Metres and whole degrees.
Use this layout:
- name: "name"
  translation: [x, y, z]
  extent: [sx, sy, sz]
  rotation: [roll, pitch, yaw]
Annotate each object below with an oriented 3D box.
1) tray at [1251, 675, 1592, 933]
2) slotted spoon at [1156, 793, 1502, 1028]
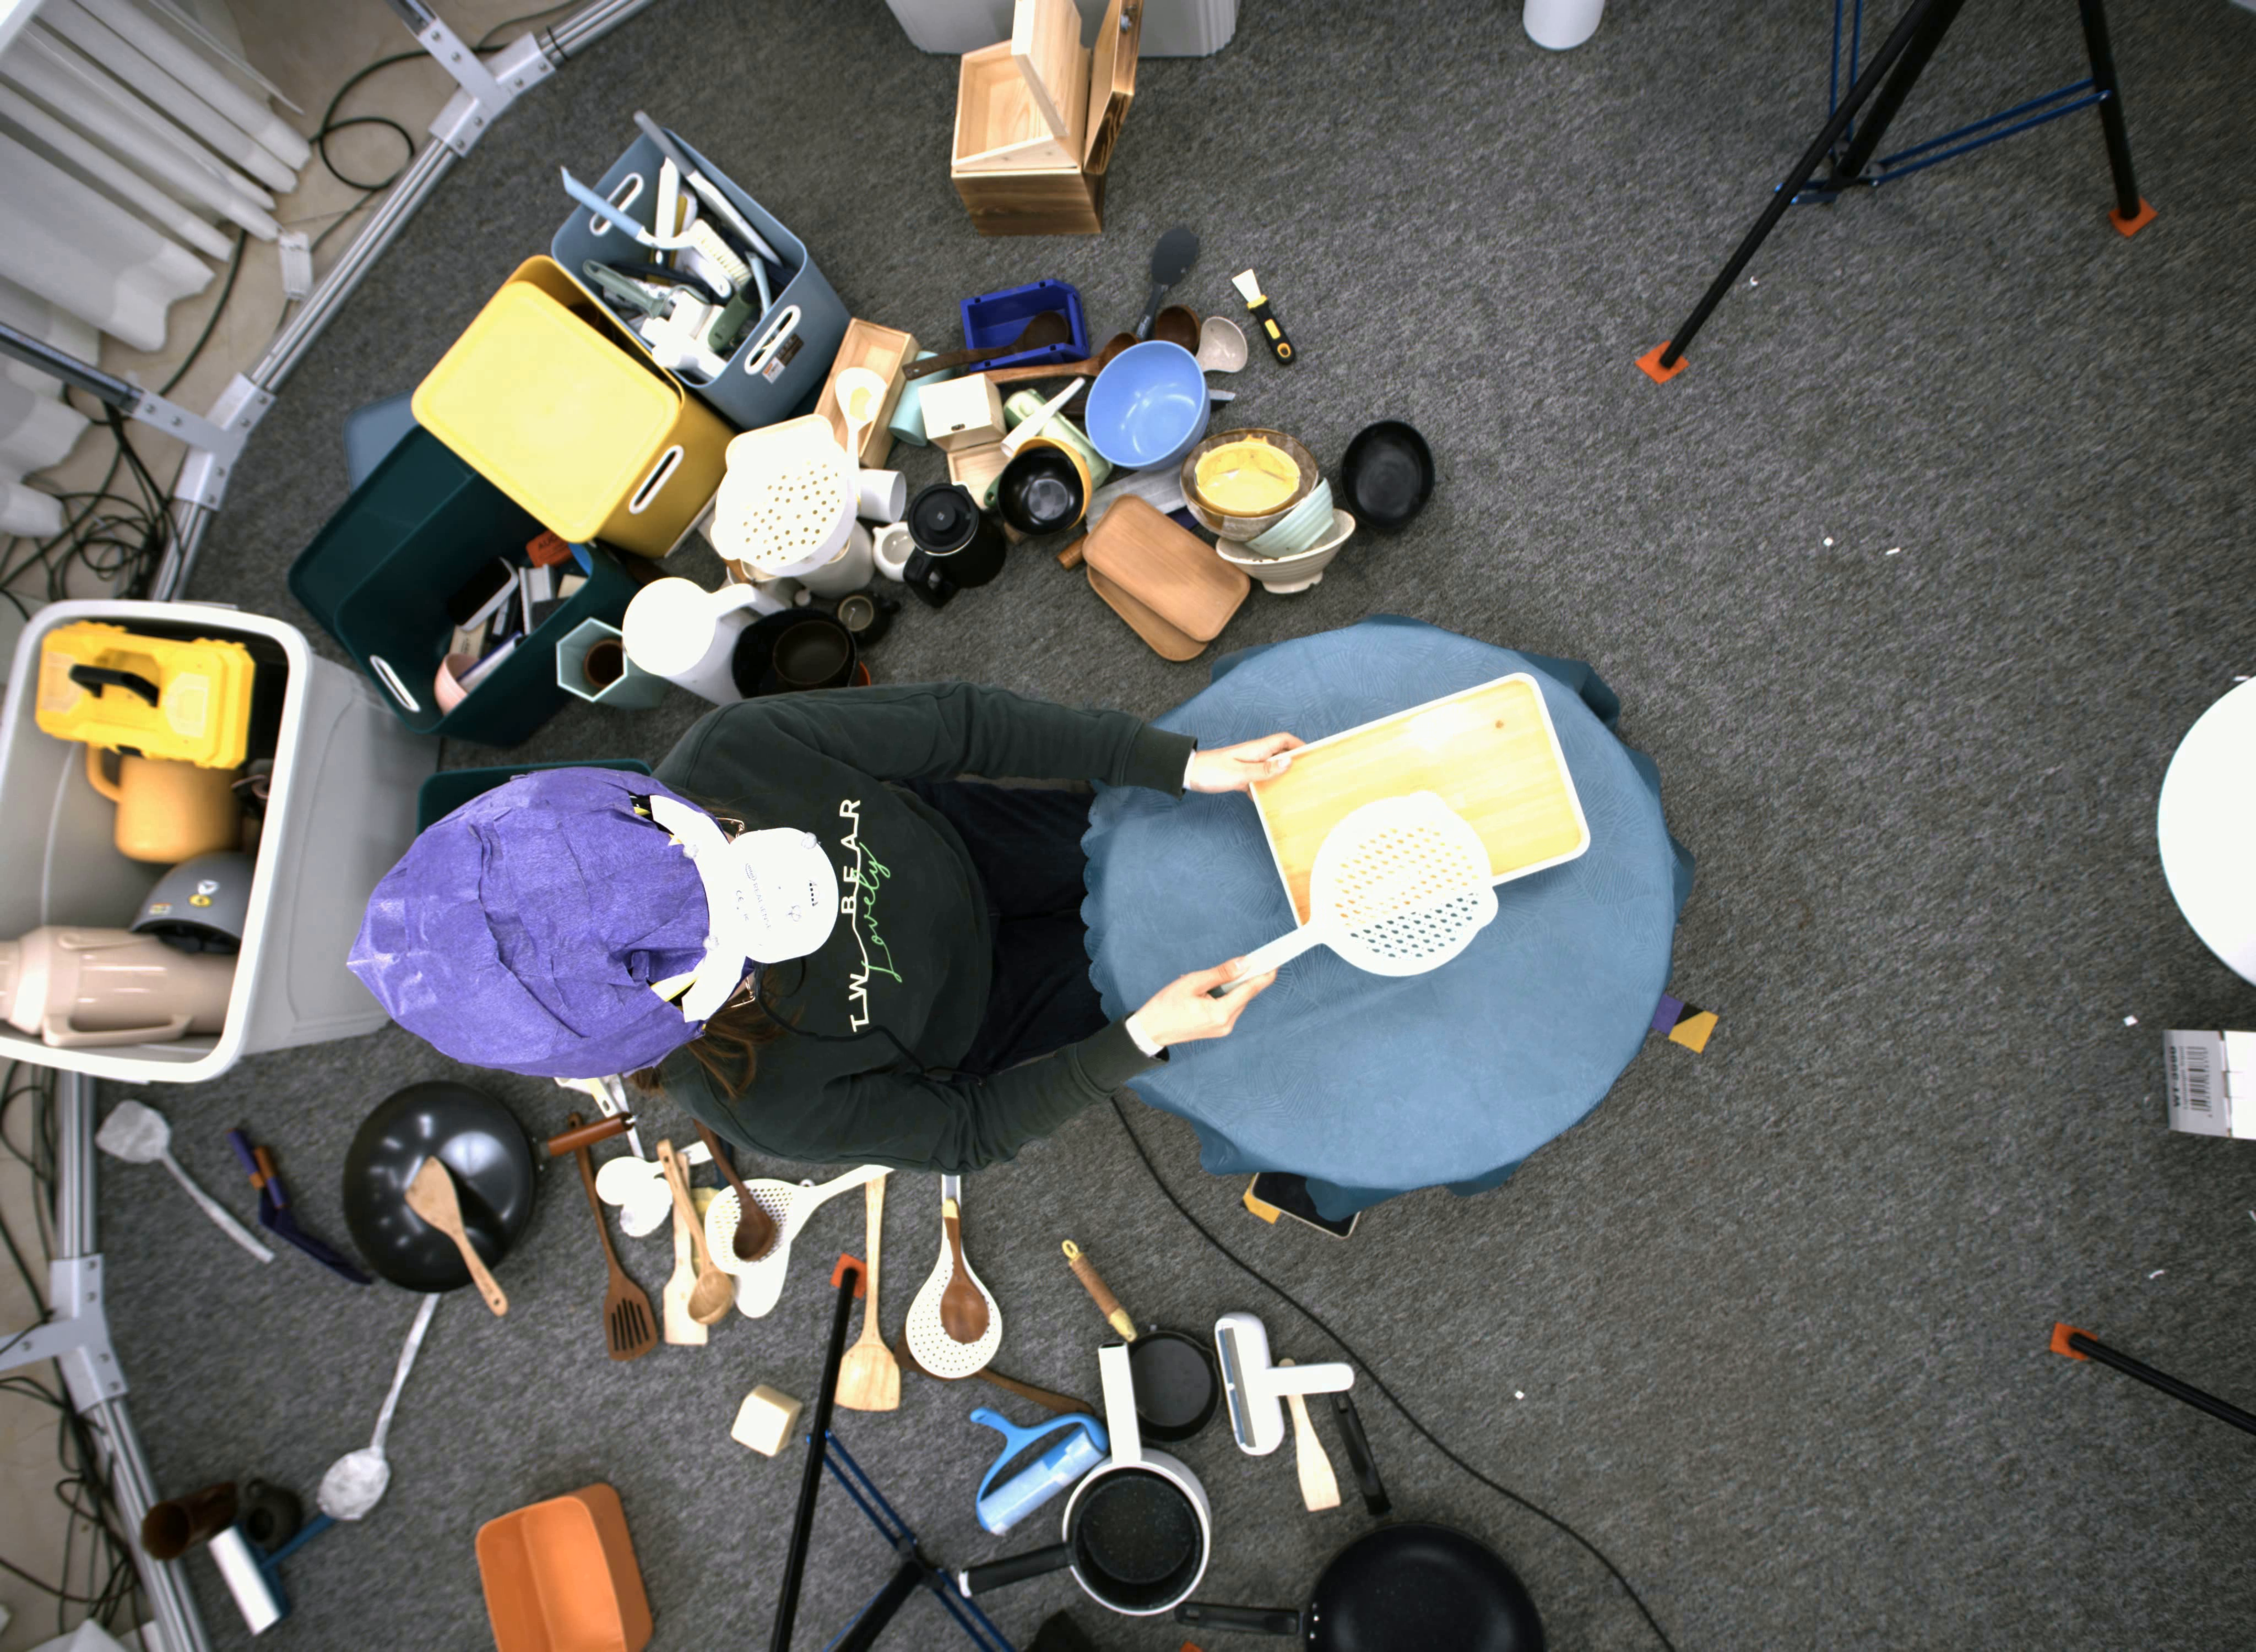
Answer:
- name: "tray"
  translation: [0.290, -0.018, 1.376]
  extent: [0.302, 0.027, 0.191]
  rotation: [-19, 90, 9]
- name: "slotted spoon"
  translation: [0.180, 0.106, 1.327]
  extent: [0.361, 0.076, 0.167]
  rotation: [-27, 69, 8]
